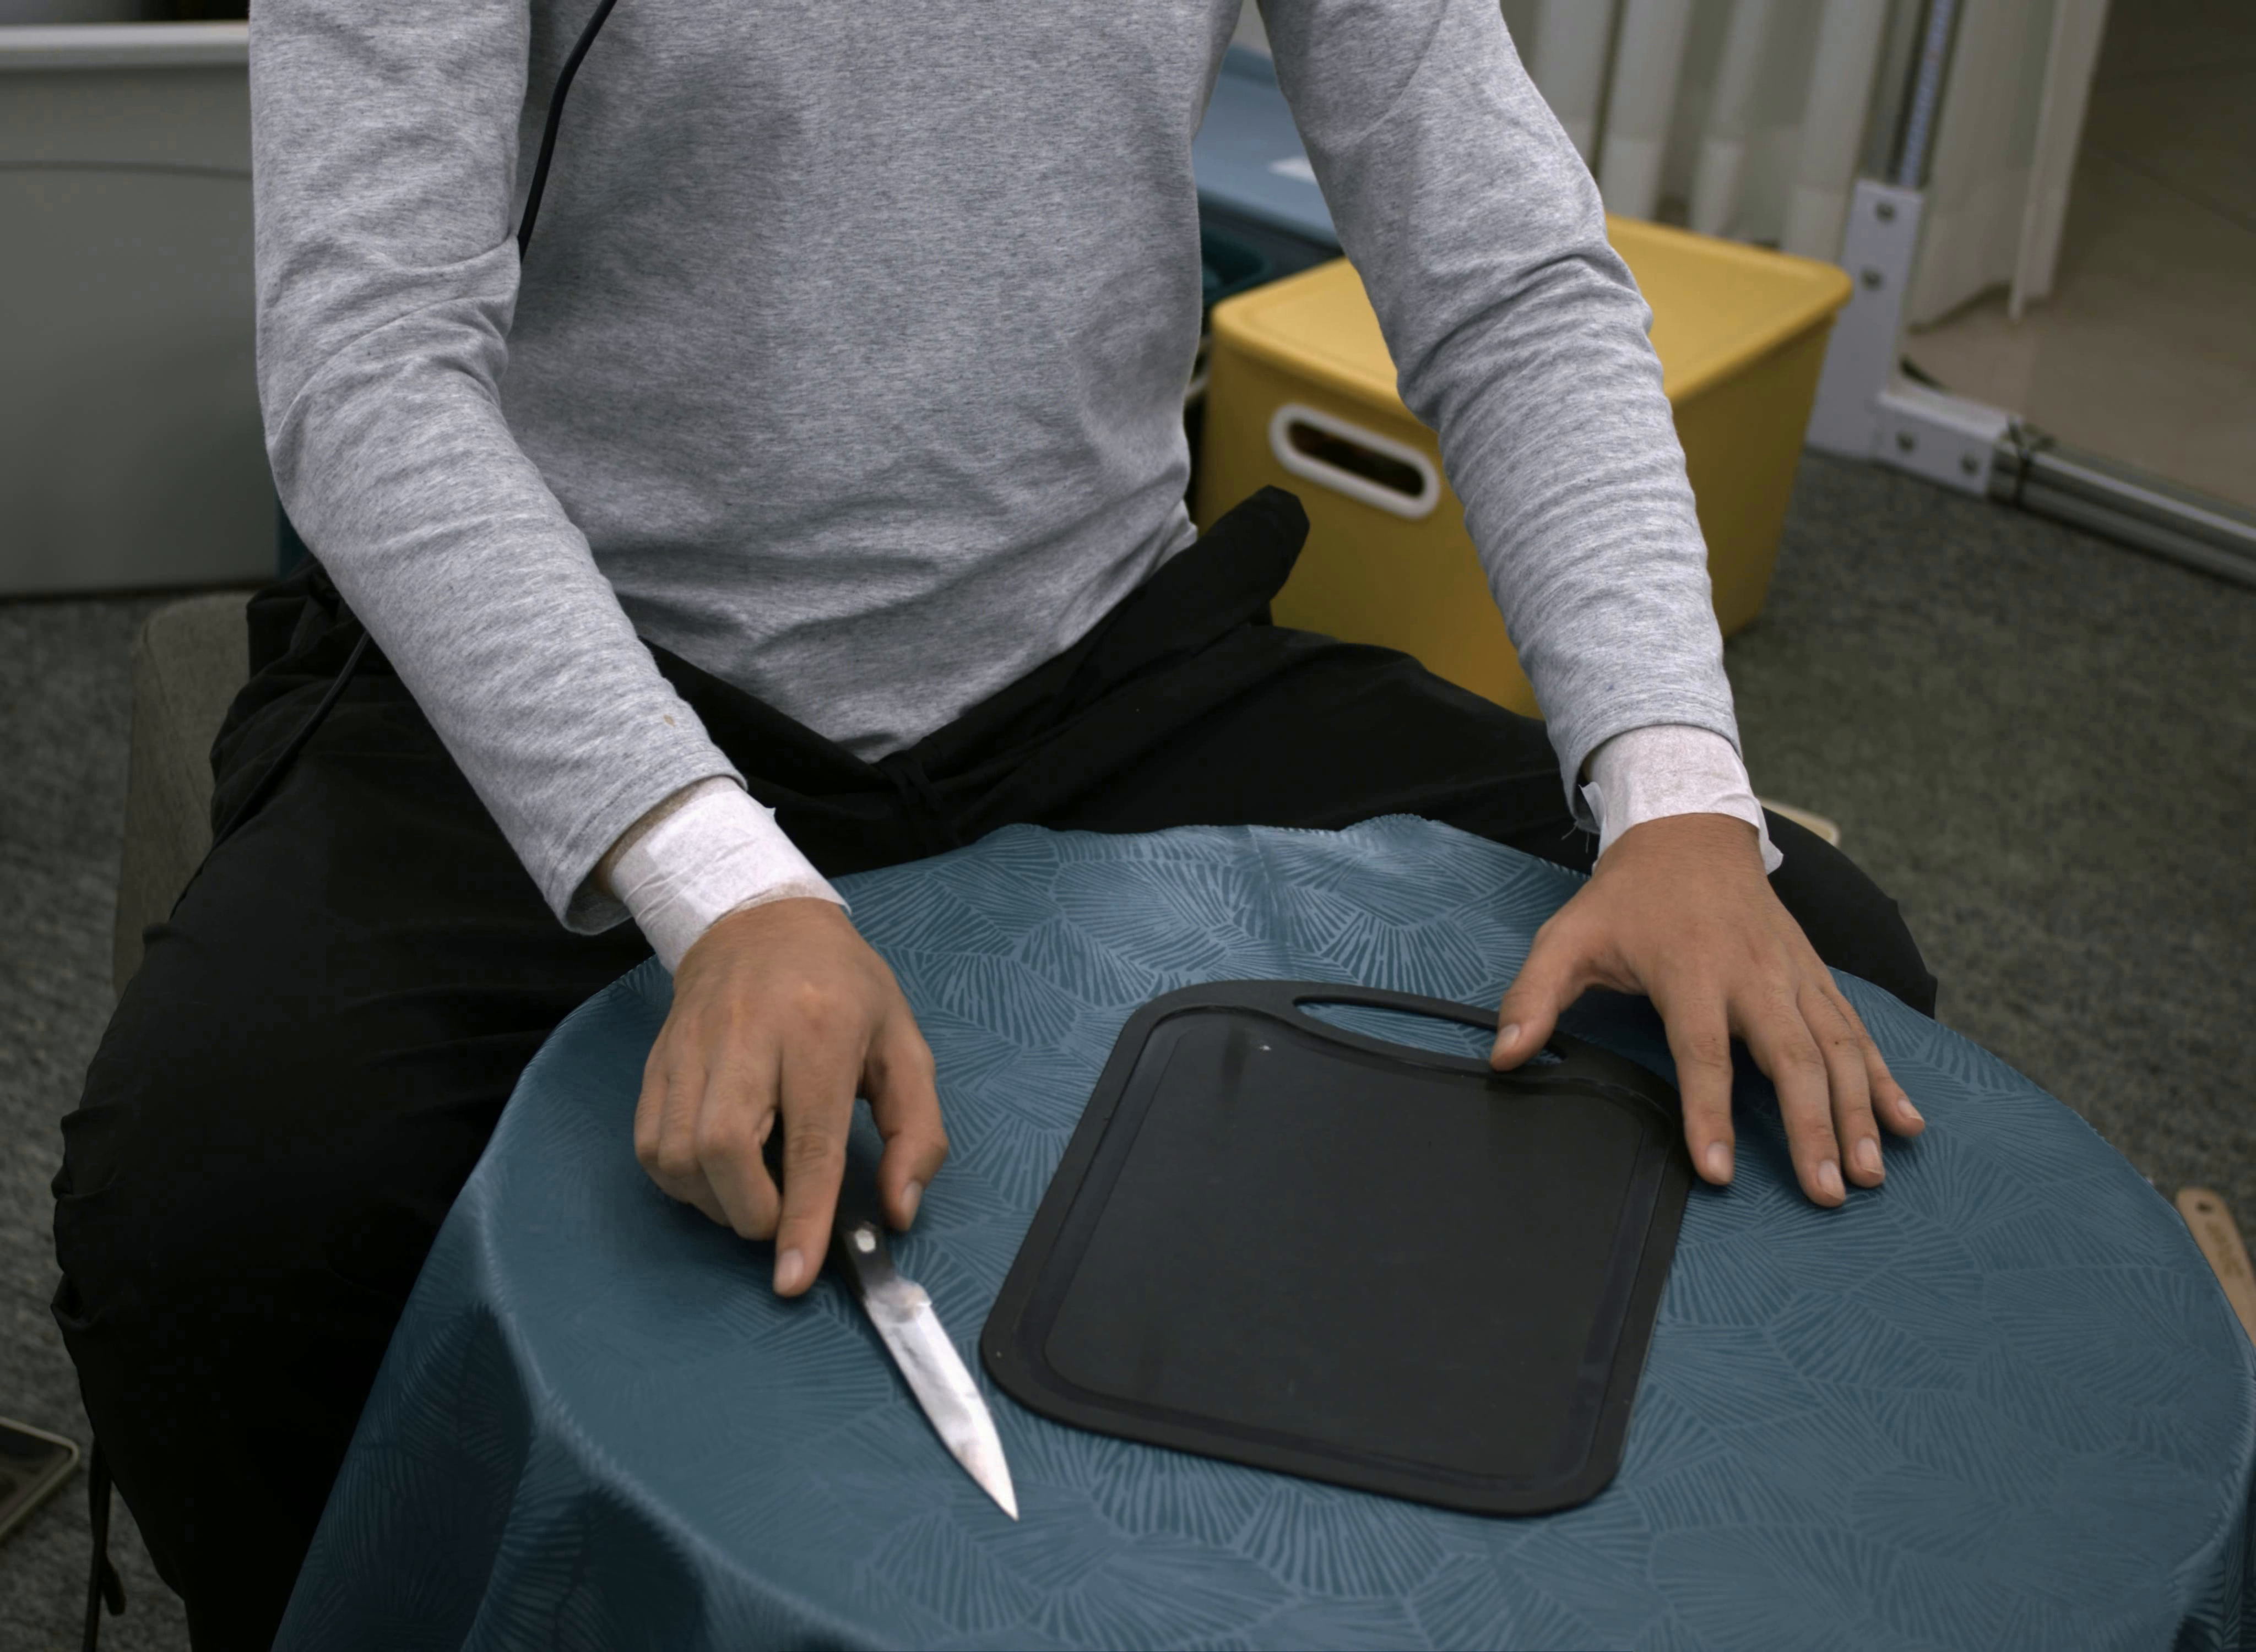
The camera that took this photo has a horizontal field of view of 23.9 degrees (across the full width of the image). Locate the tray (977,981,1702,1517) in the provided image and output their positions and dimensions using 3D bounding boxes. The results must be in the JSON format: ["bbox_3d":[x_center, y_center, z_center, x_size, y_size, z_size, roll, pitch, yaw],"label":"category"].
[{"bbox_3d":[0.079,0.131,1.802,0.211,0.010,0.326,11,27,9],"label":"tray"}]

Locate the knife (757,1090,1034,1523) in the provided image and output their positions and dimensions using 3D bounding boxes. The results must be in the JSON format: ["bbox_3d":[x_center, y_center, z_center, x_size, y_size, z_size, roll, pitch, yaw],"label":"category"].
[{"bbox_3d":[-0.077,0.154,1.716,0.024,0.016,0.240,-7,33,-21],"label":"knife"}]
